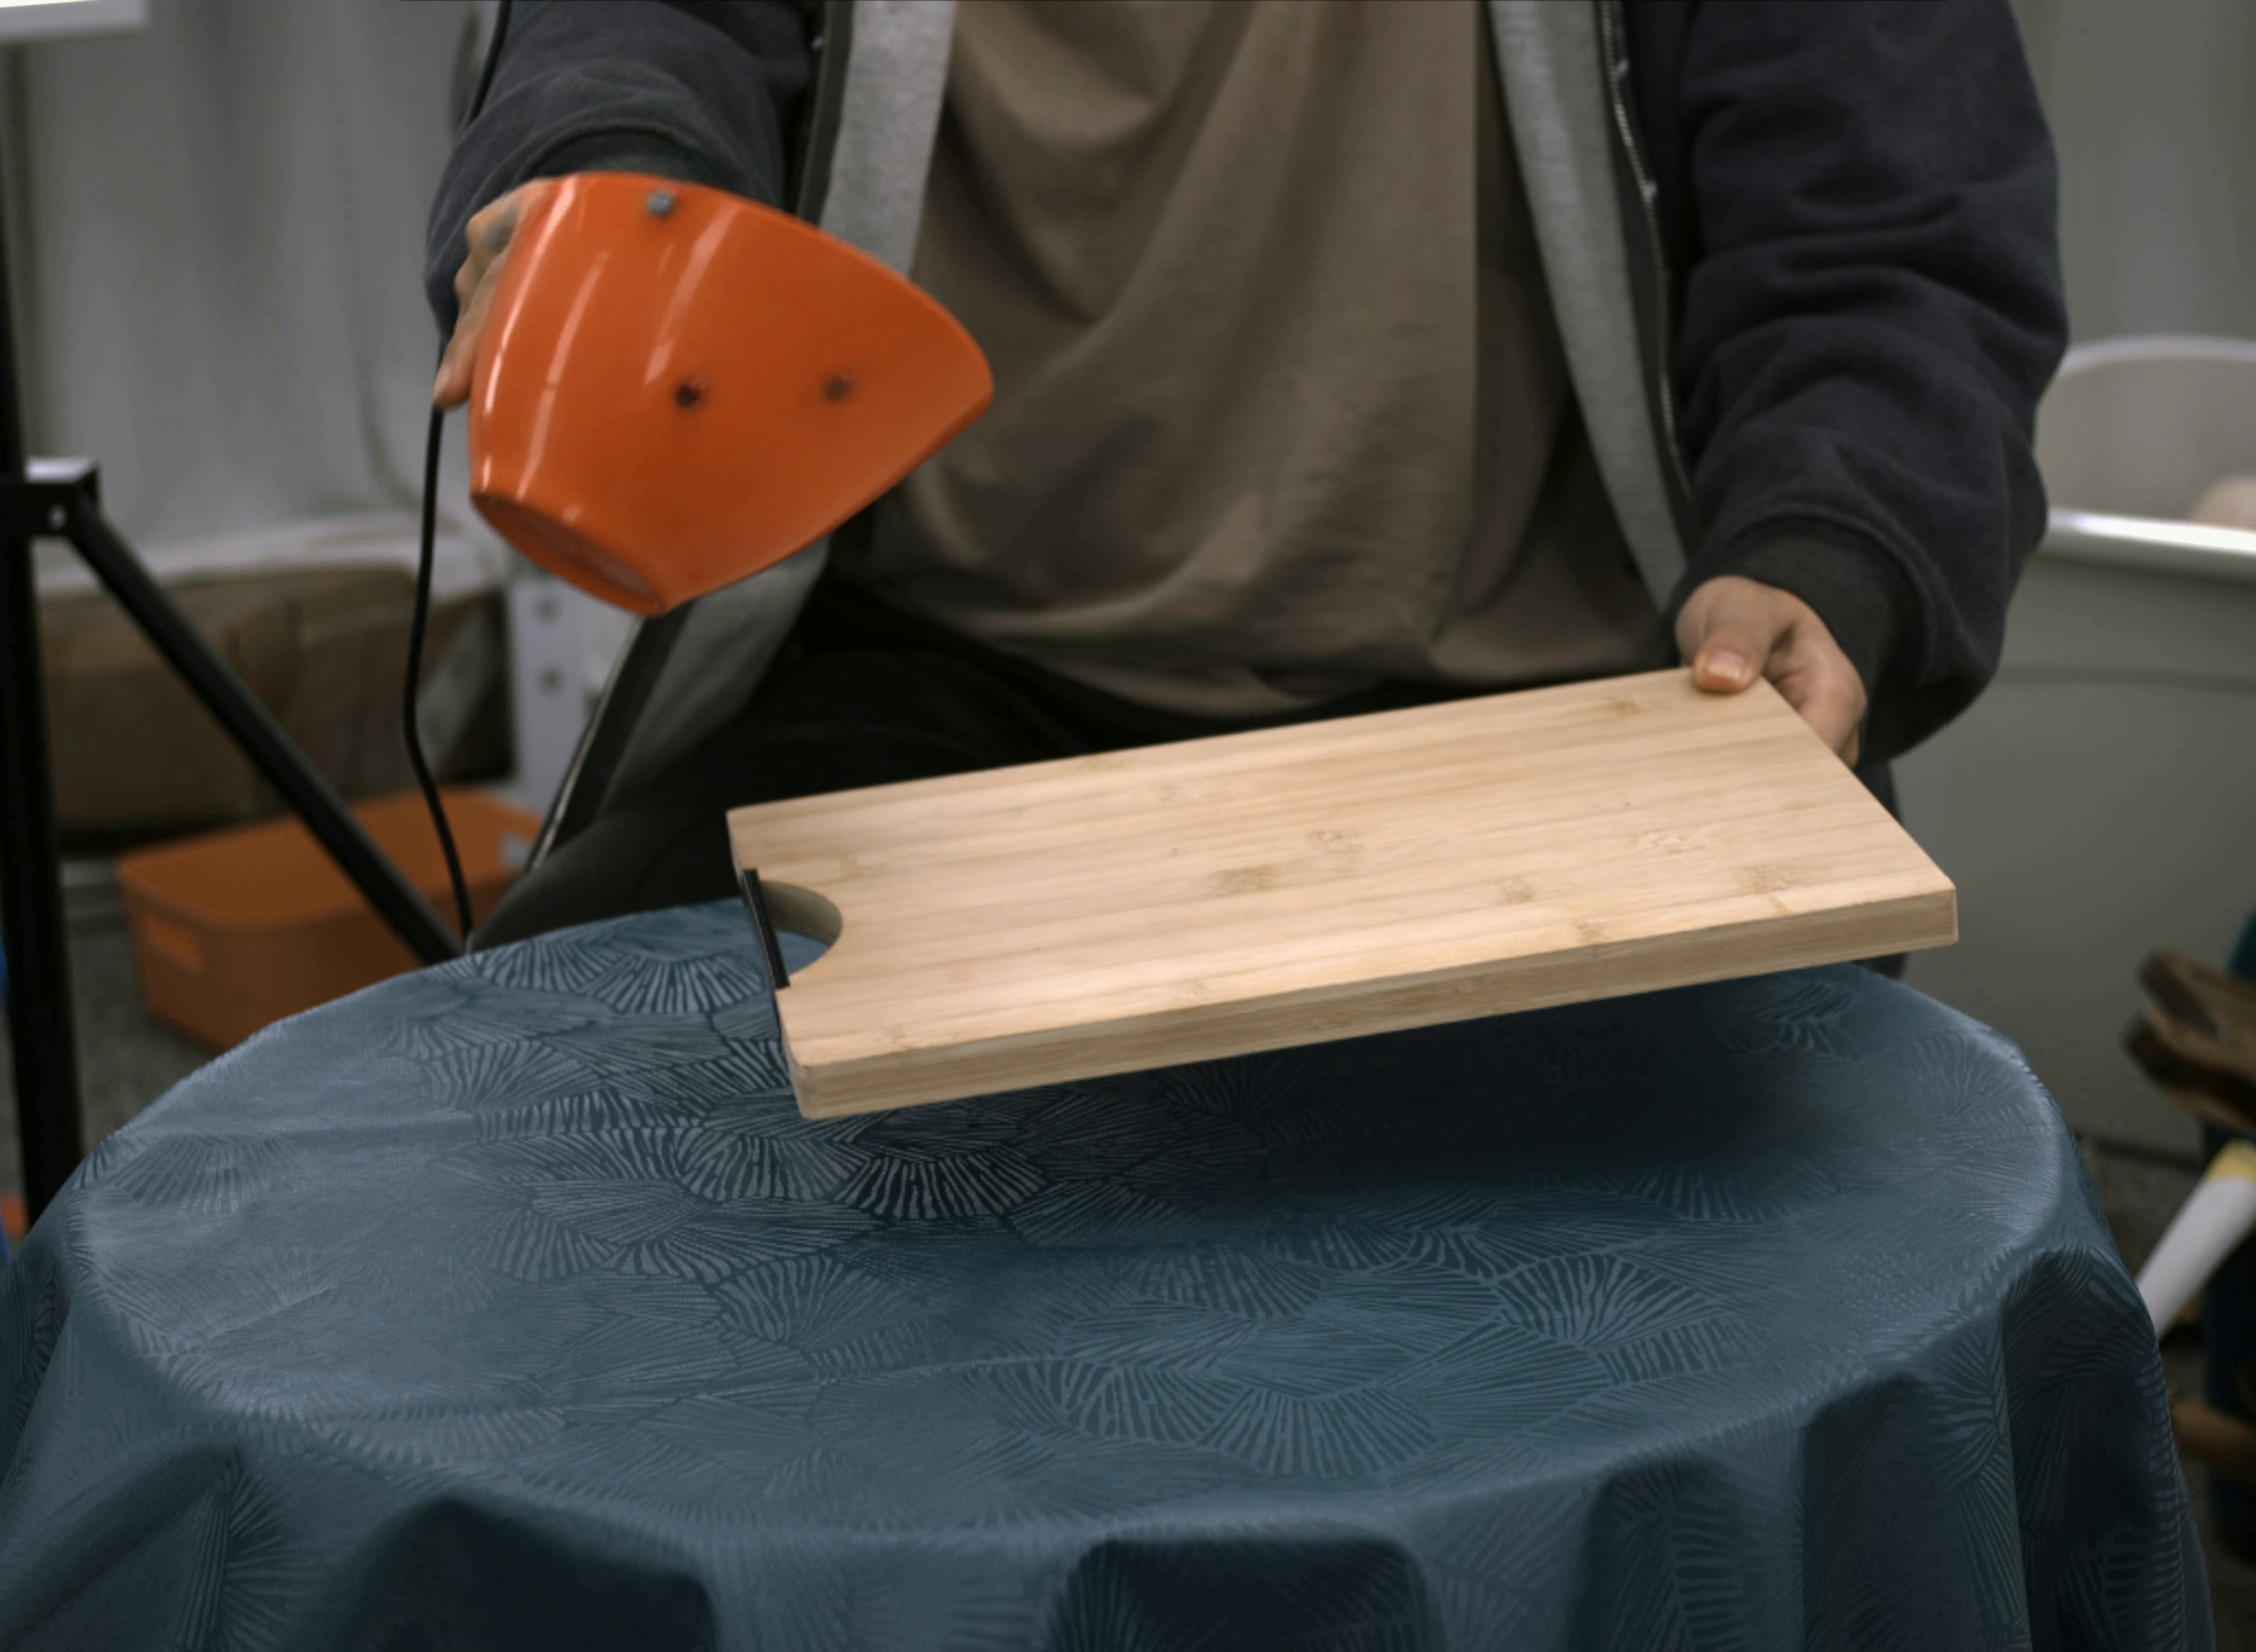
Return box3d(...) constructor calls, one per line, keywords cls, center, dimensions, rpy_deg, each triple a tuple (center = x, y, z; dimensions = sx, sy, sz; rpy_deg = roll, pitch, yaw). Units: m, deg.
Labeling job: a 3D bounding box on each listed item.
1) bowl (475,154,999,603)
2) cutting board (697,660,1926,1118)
box3d(cls="bowl", center=(-0.126, -0.121, 1.556), dimensions=(0.148, 0.104, 0.147), rpy_deg=(30, -13, 6))
box3d(cls="cutting board", center=(0.048, 0.016, 1.625), dimensions=(0.345, 0.023, 0.253), rpy_deg=(-9, 18, -5))
